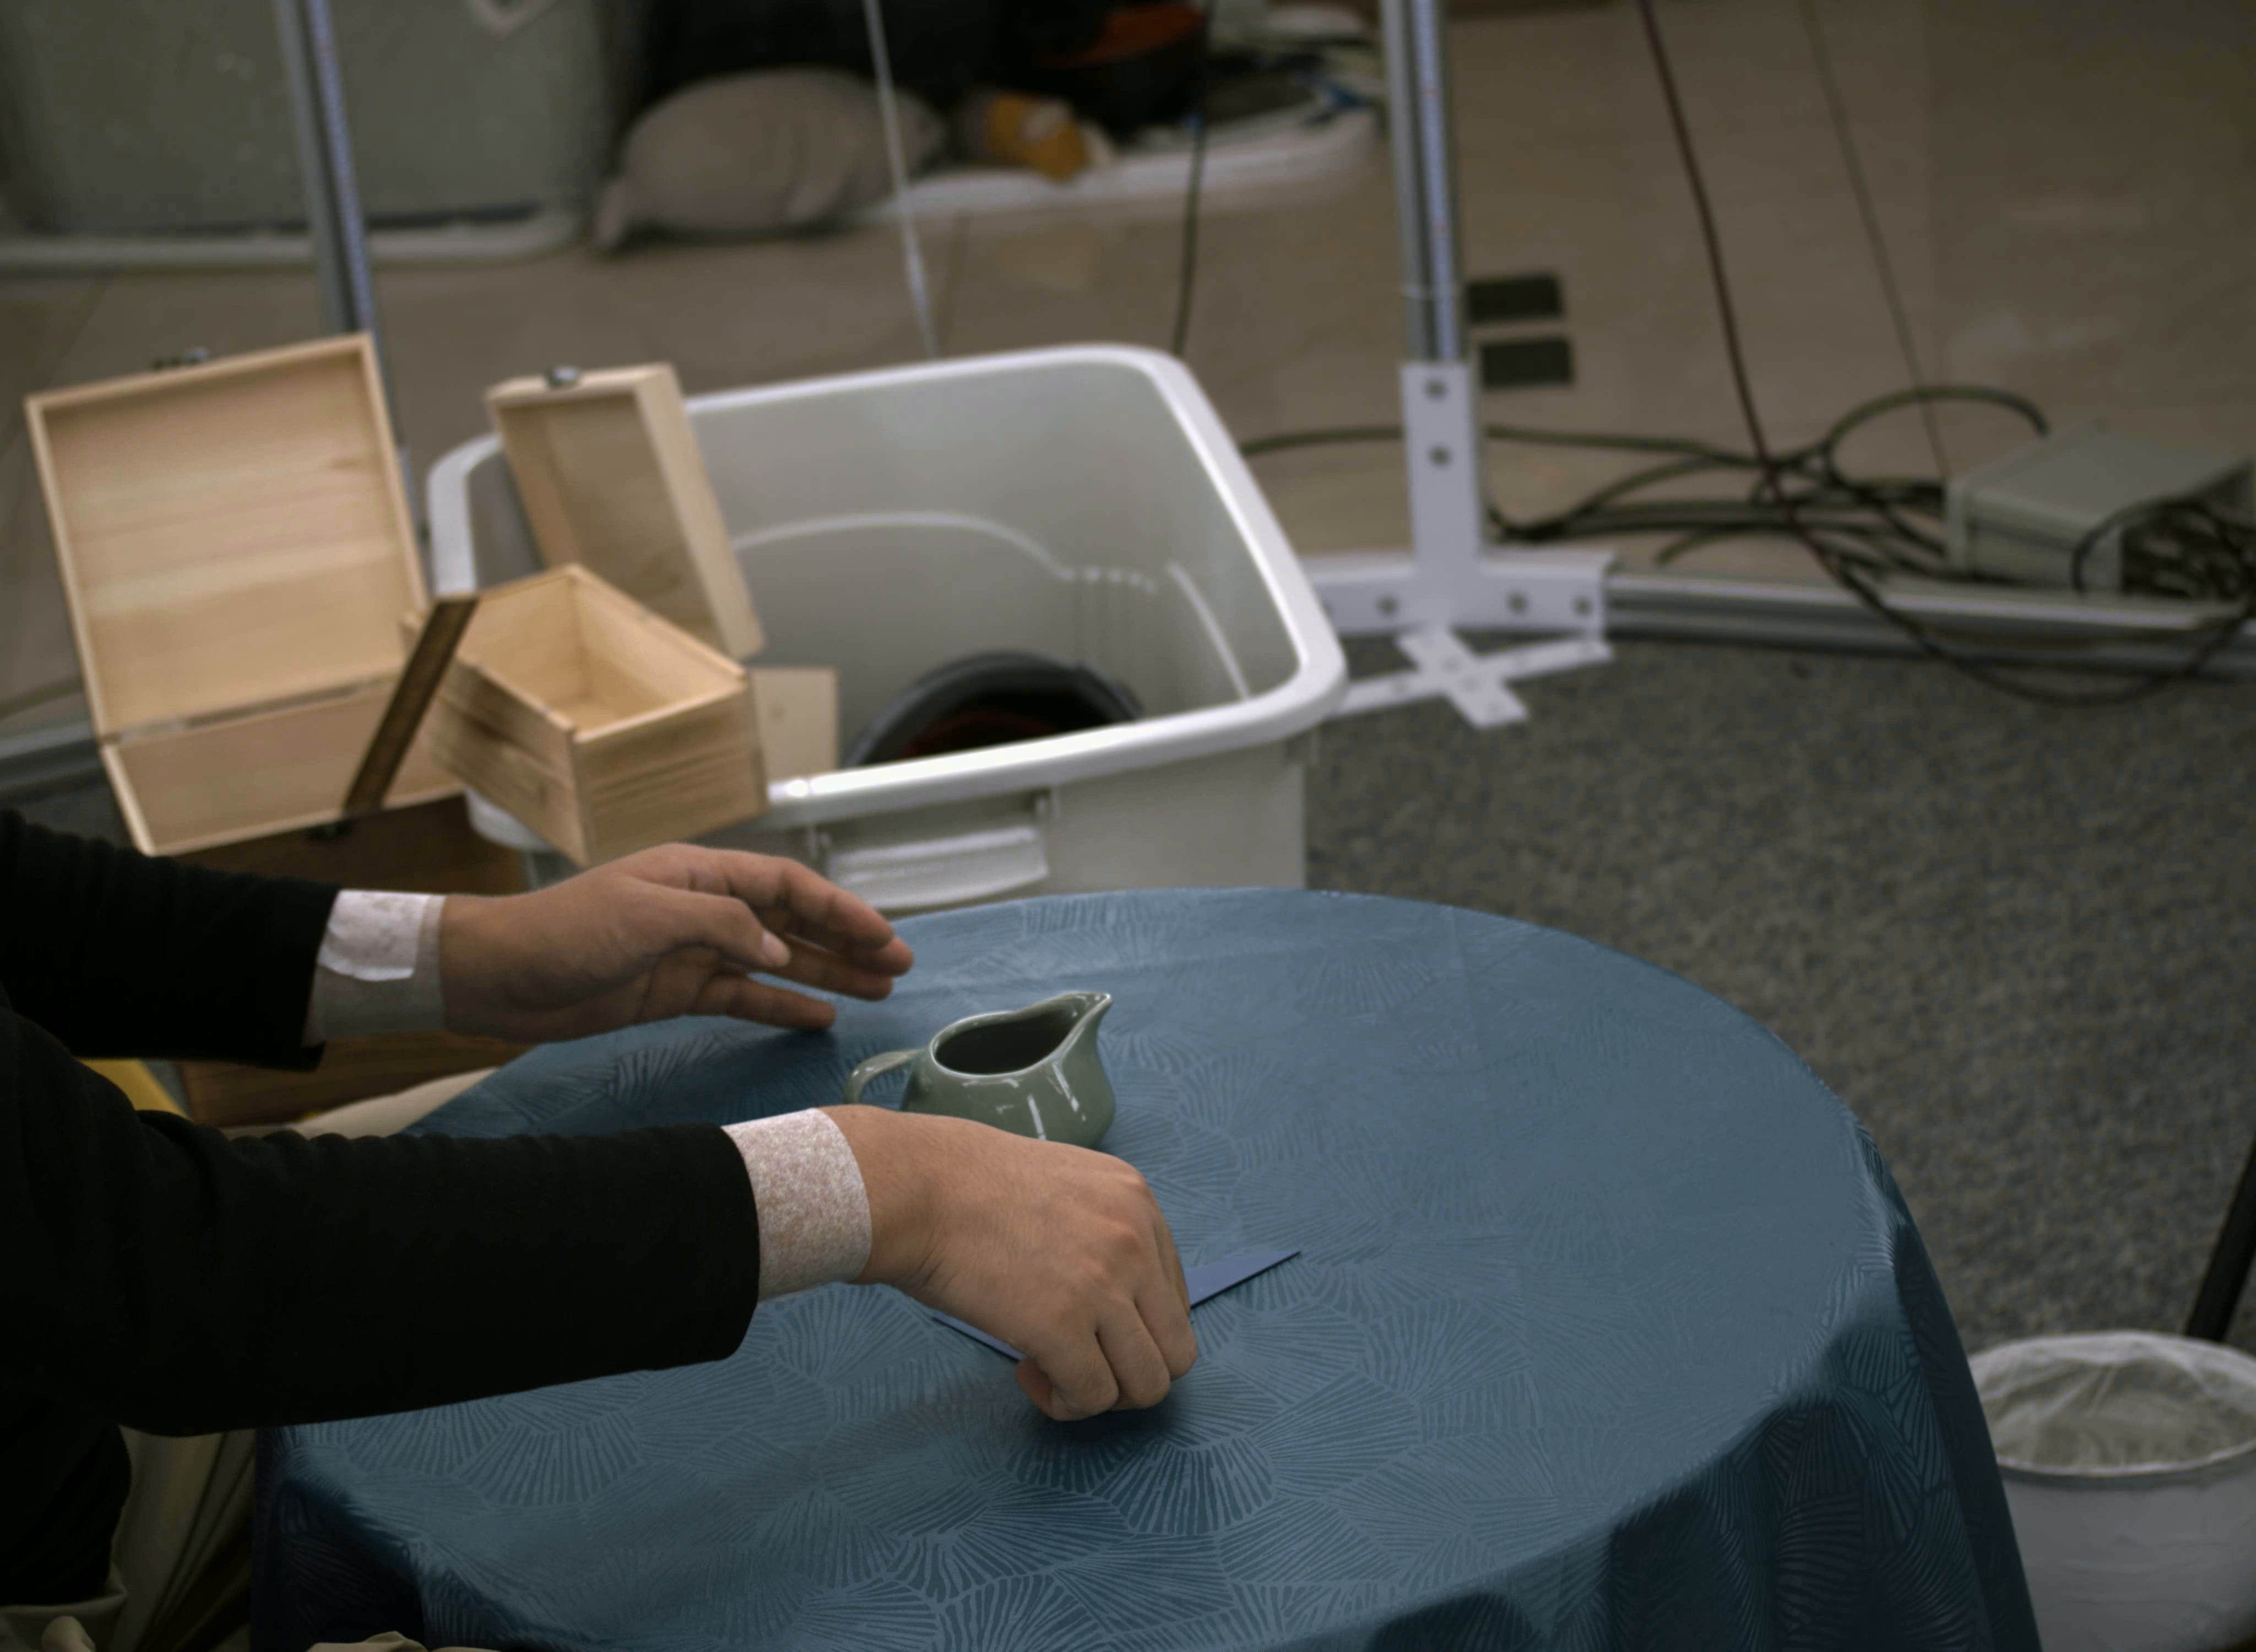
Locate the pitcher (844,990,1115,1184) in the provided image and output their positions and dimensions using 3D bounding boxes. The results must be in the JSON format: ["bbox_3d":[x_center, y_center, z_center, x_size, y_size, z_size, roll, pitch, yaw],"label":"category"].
[{"bbox_3d":[-0.054,0.103,2.172,0.112,0.057,0.083,-16,25,-20],"label":"pitcher"}]

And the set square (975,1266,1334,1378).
[{"bbox_3d":[0.012,0.179,2.055,0.132,0.006,0.060,-7,24,-3],"label":"set square"}]
